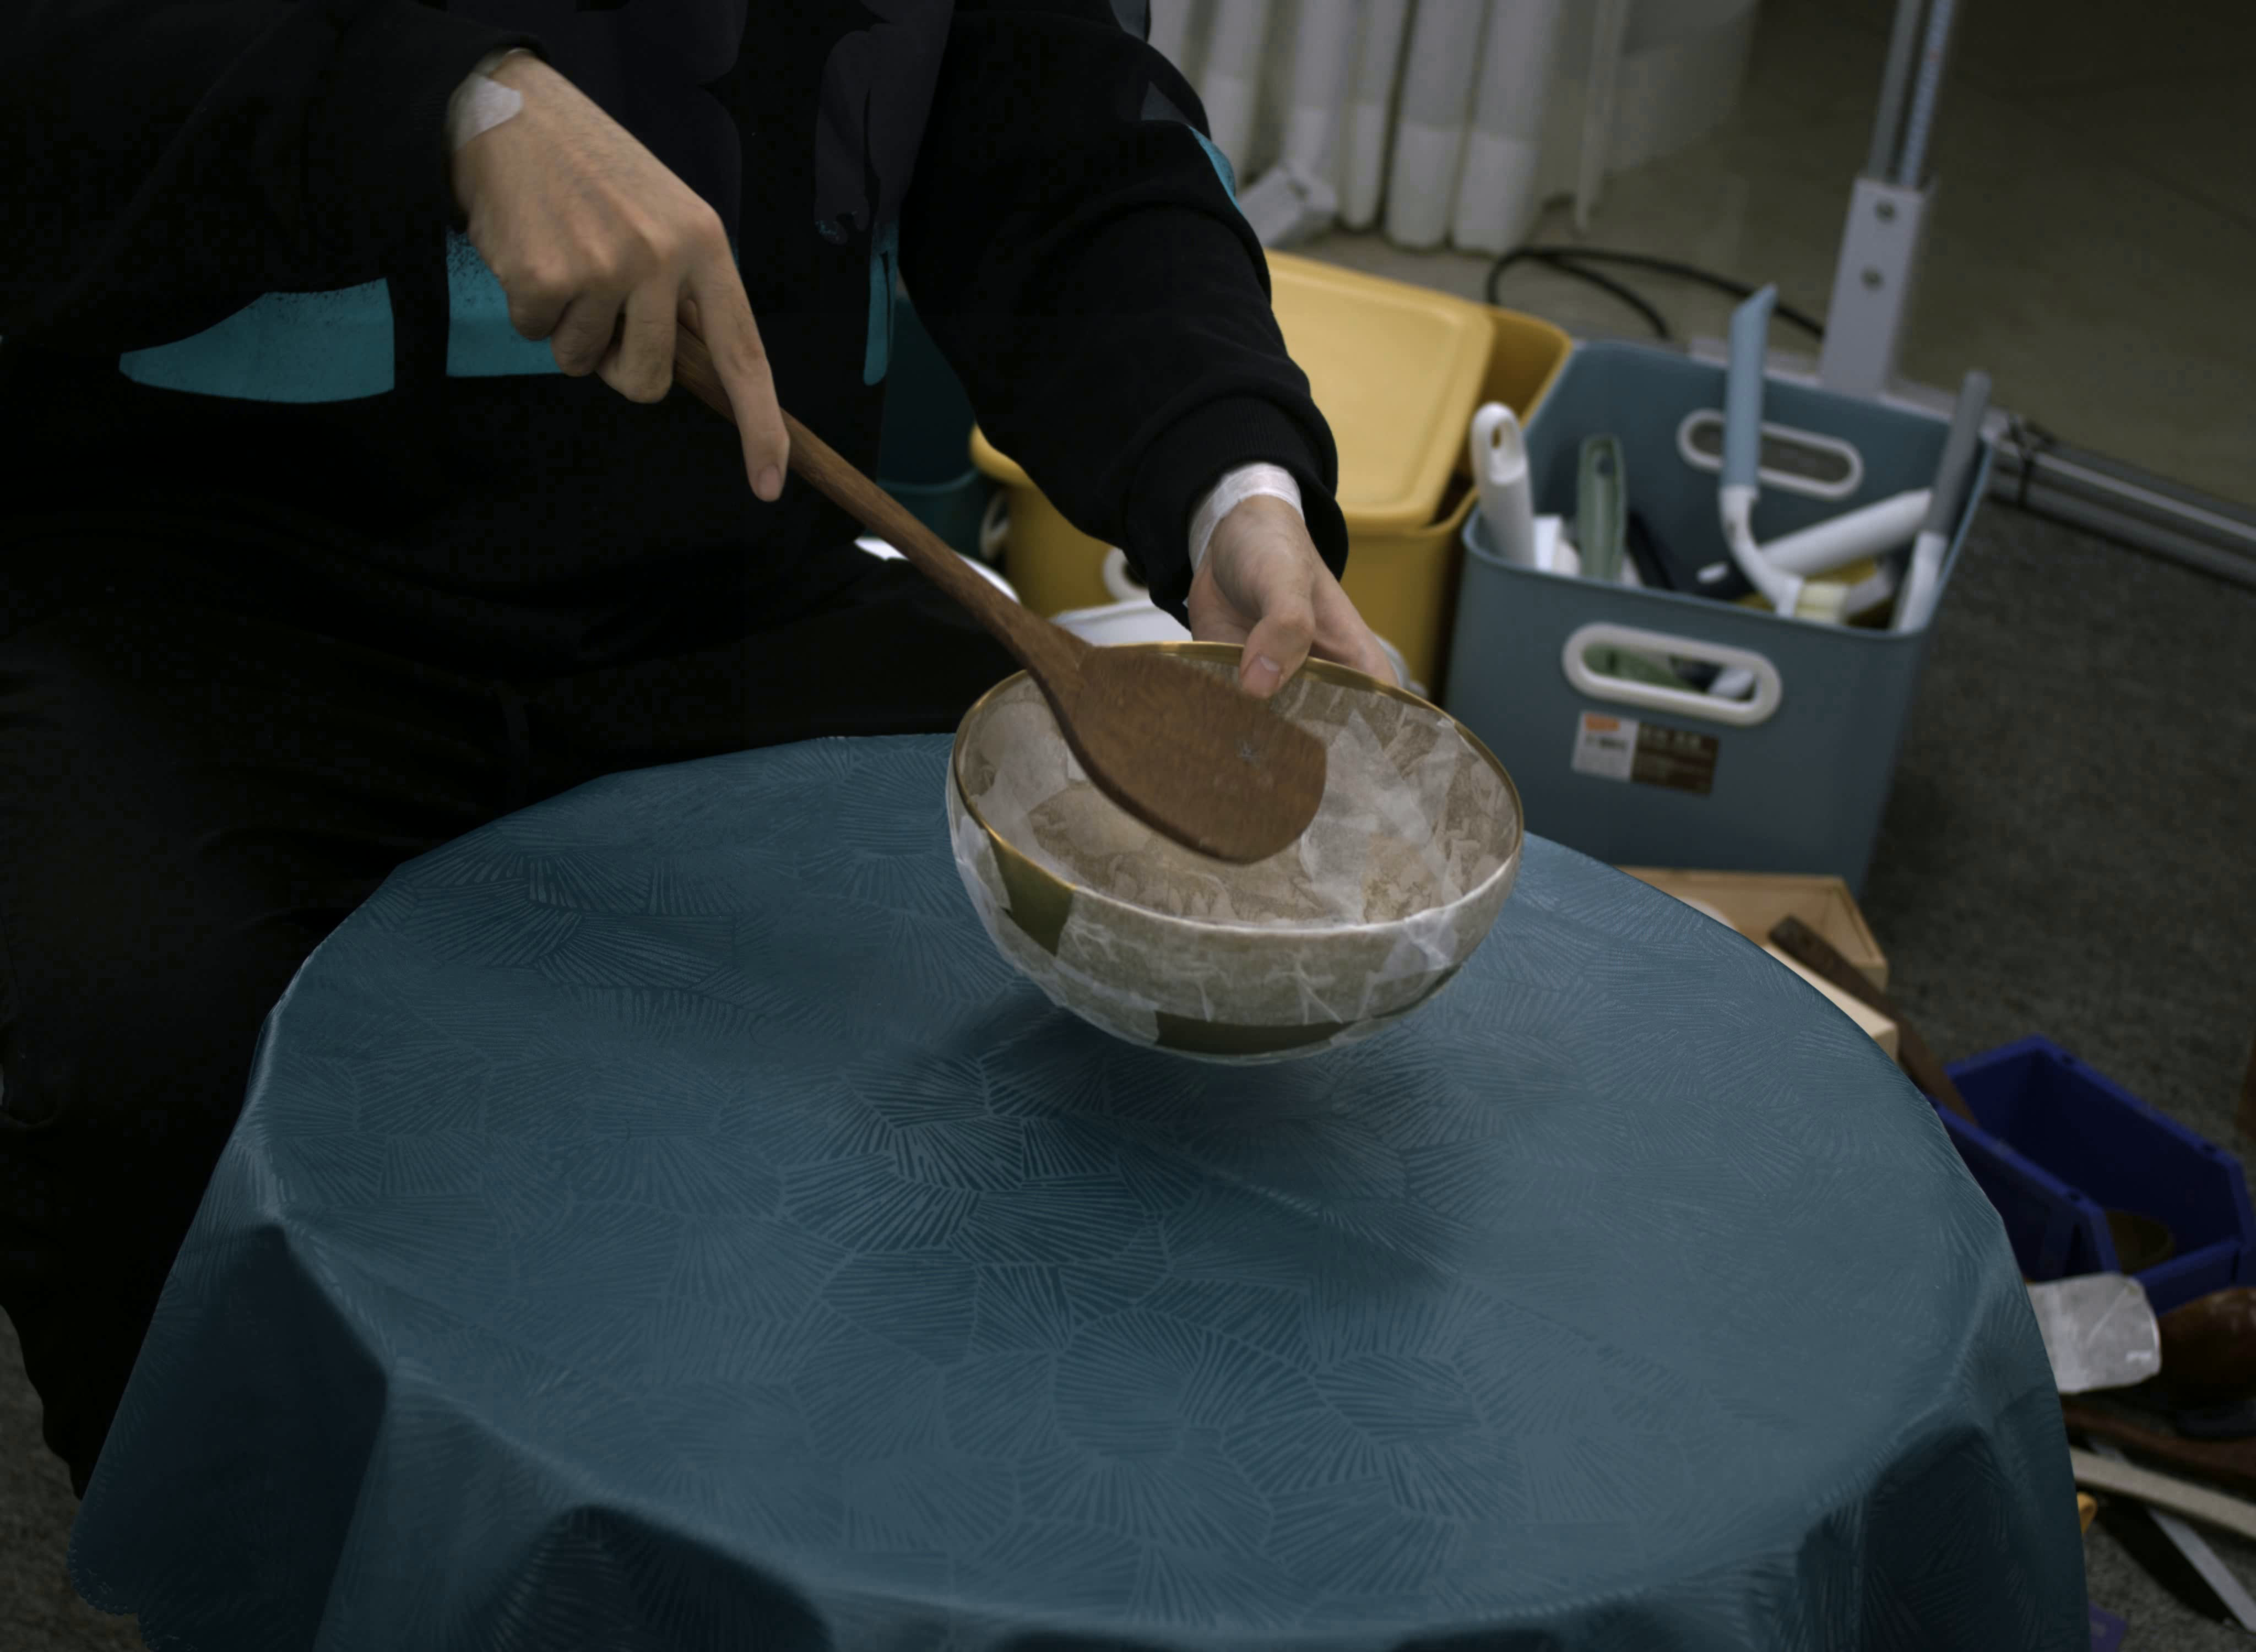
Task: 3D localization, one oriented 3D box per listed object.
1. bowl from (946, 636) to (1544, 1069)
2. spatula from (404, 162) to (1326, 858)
[{"bbox_3d":[0.036,0.022,1.851,0.214,0.094,0.216,4,28,-2],"label":"bowl"},{"bbox_3d":[-0.094,-0.115,1.837,0.386,0.016,0.096,37,37,3],"label":"spatula"}]
